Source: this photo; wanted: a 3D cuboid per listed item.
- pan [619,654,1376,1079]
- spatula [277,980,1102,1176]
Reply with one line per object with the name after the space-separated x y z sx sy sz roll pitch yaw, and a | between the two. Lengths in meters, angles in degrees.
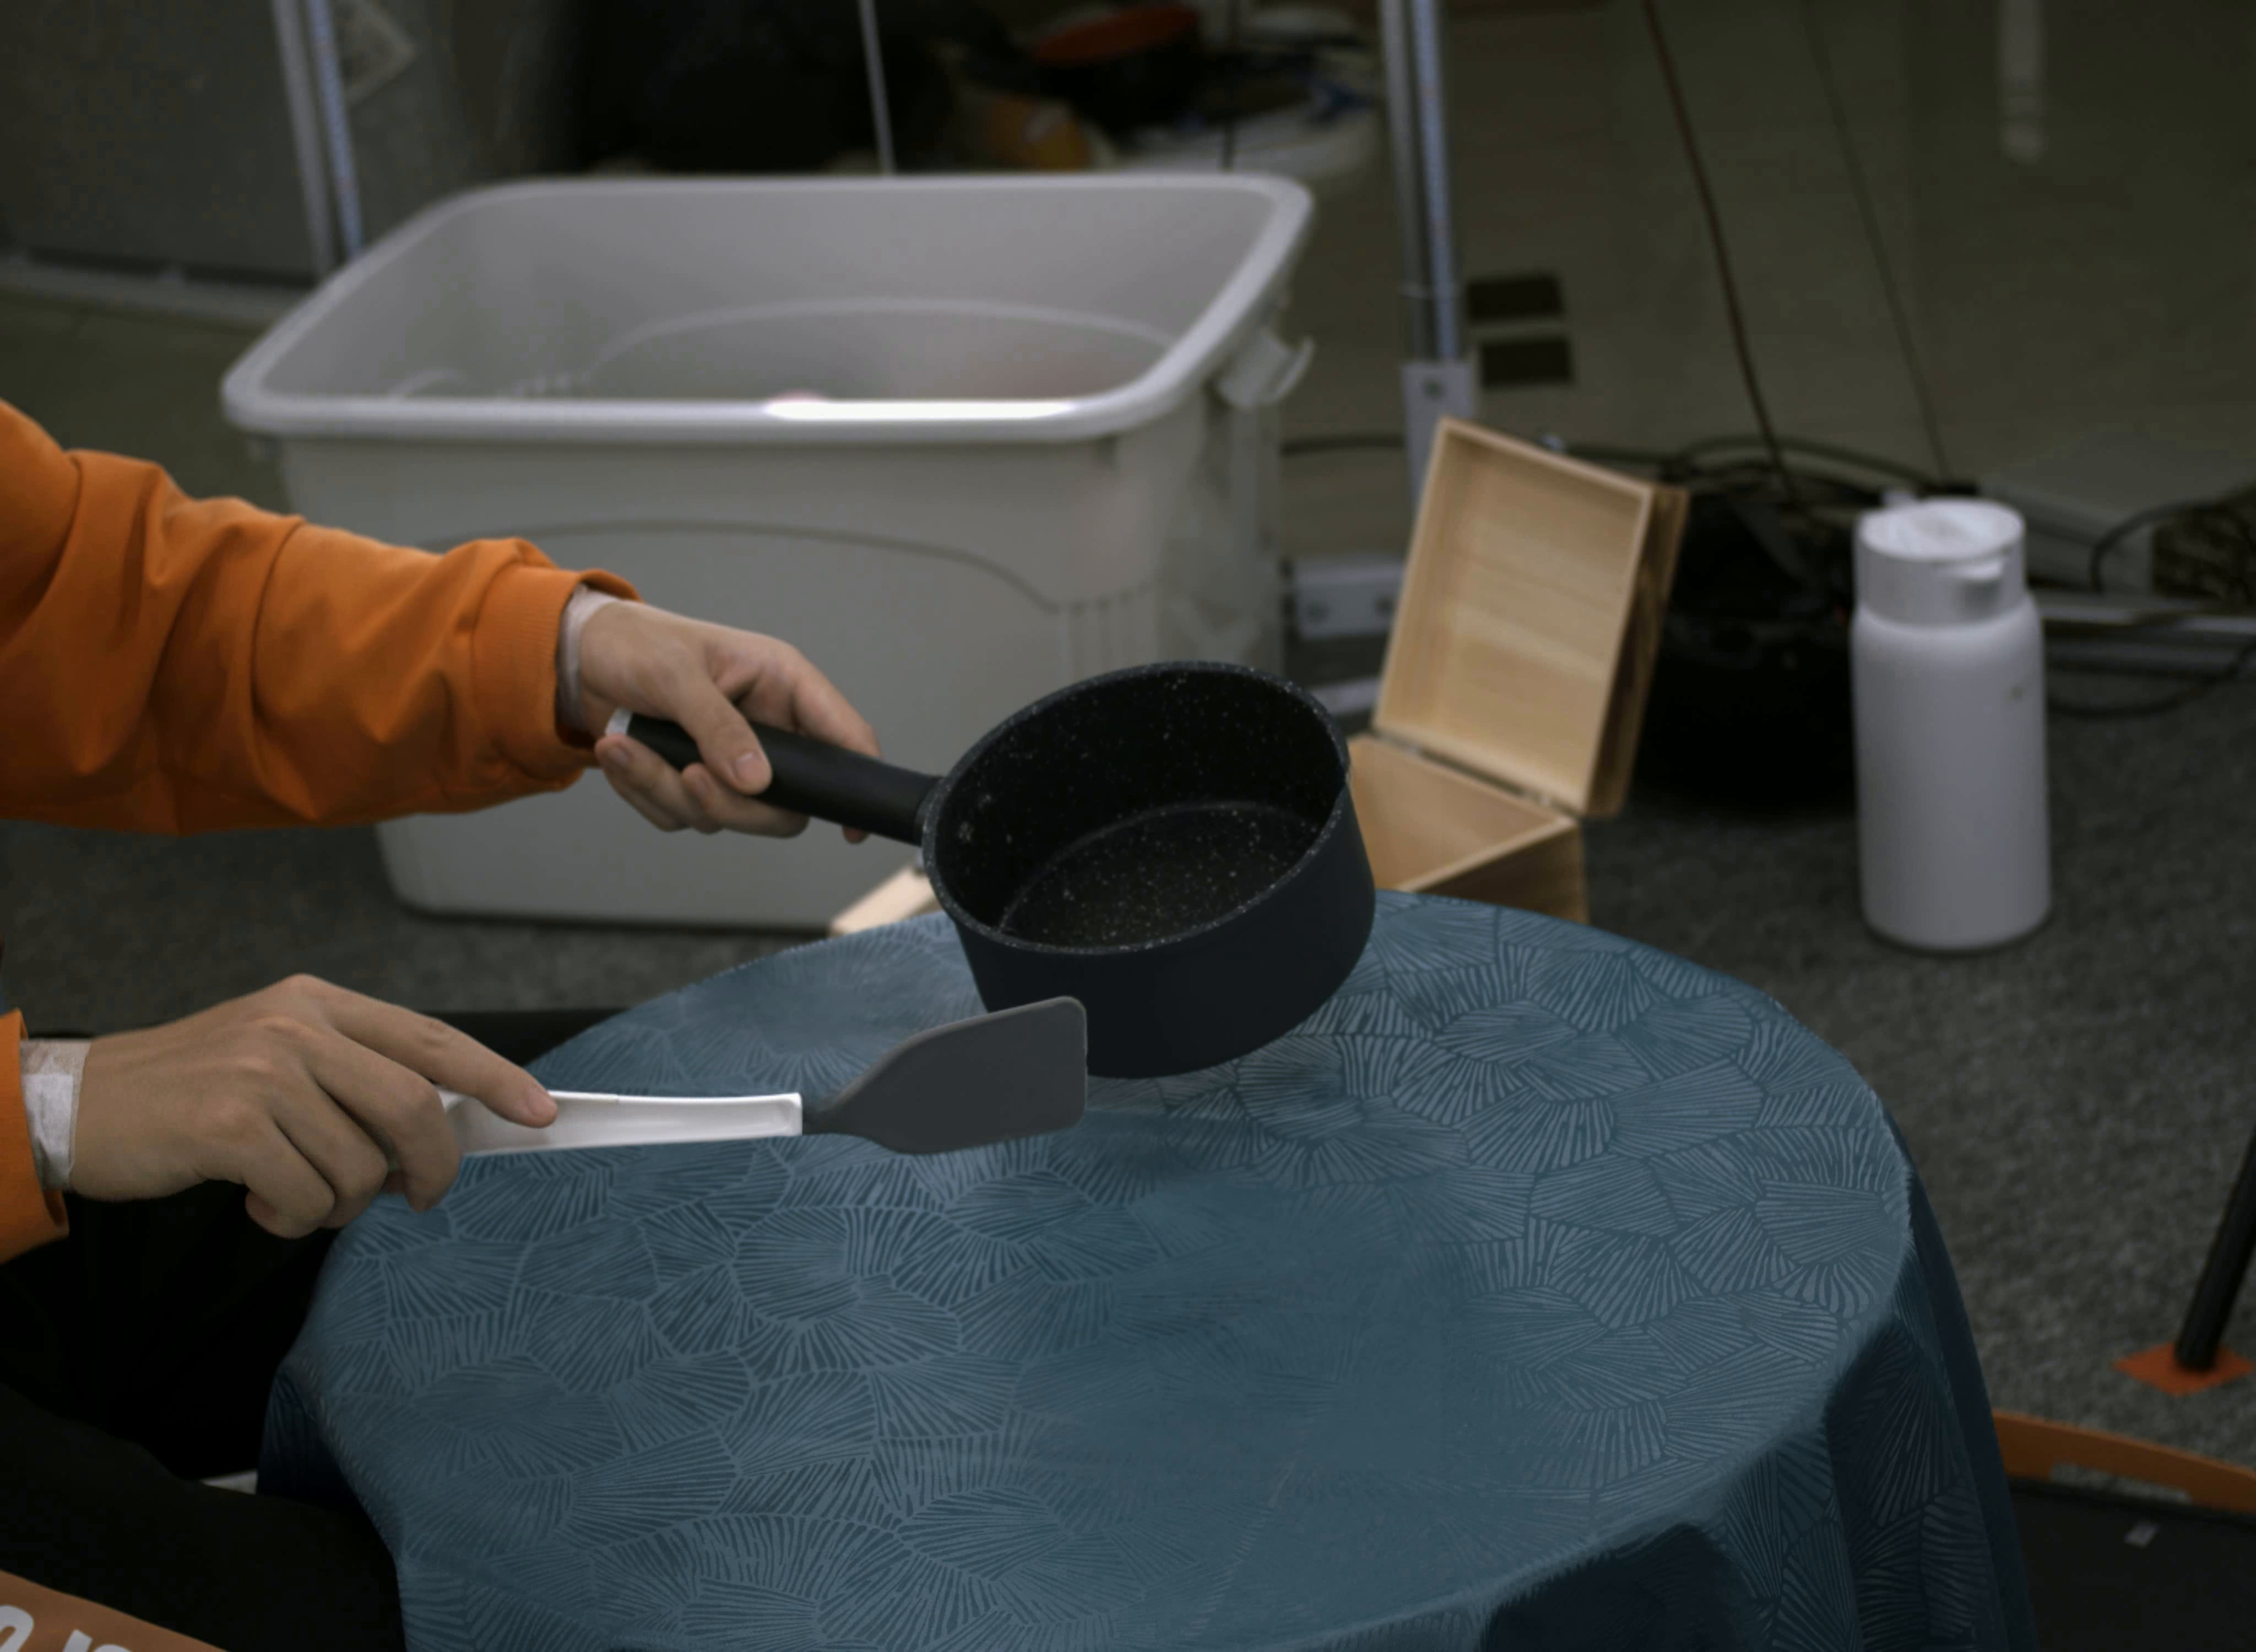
-0.057 0.003 2.256 0.327 0.088 0.169 12 48 29 | pan
-0.149 0.093 1.959 0.287 0.059 0.032 -4 28 -9 | spatula
